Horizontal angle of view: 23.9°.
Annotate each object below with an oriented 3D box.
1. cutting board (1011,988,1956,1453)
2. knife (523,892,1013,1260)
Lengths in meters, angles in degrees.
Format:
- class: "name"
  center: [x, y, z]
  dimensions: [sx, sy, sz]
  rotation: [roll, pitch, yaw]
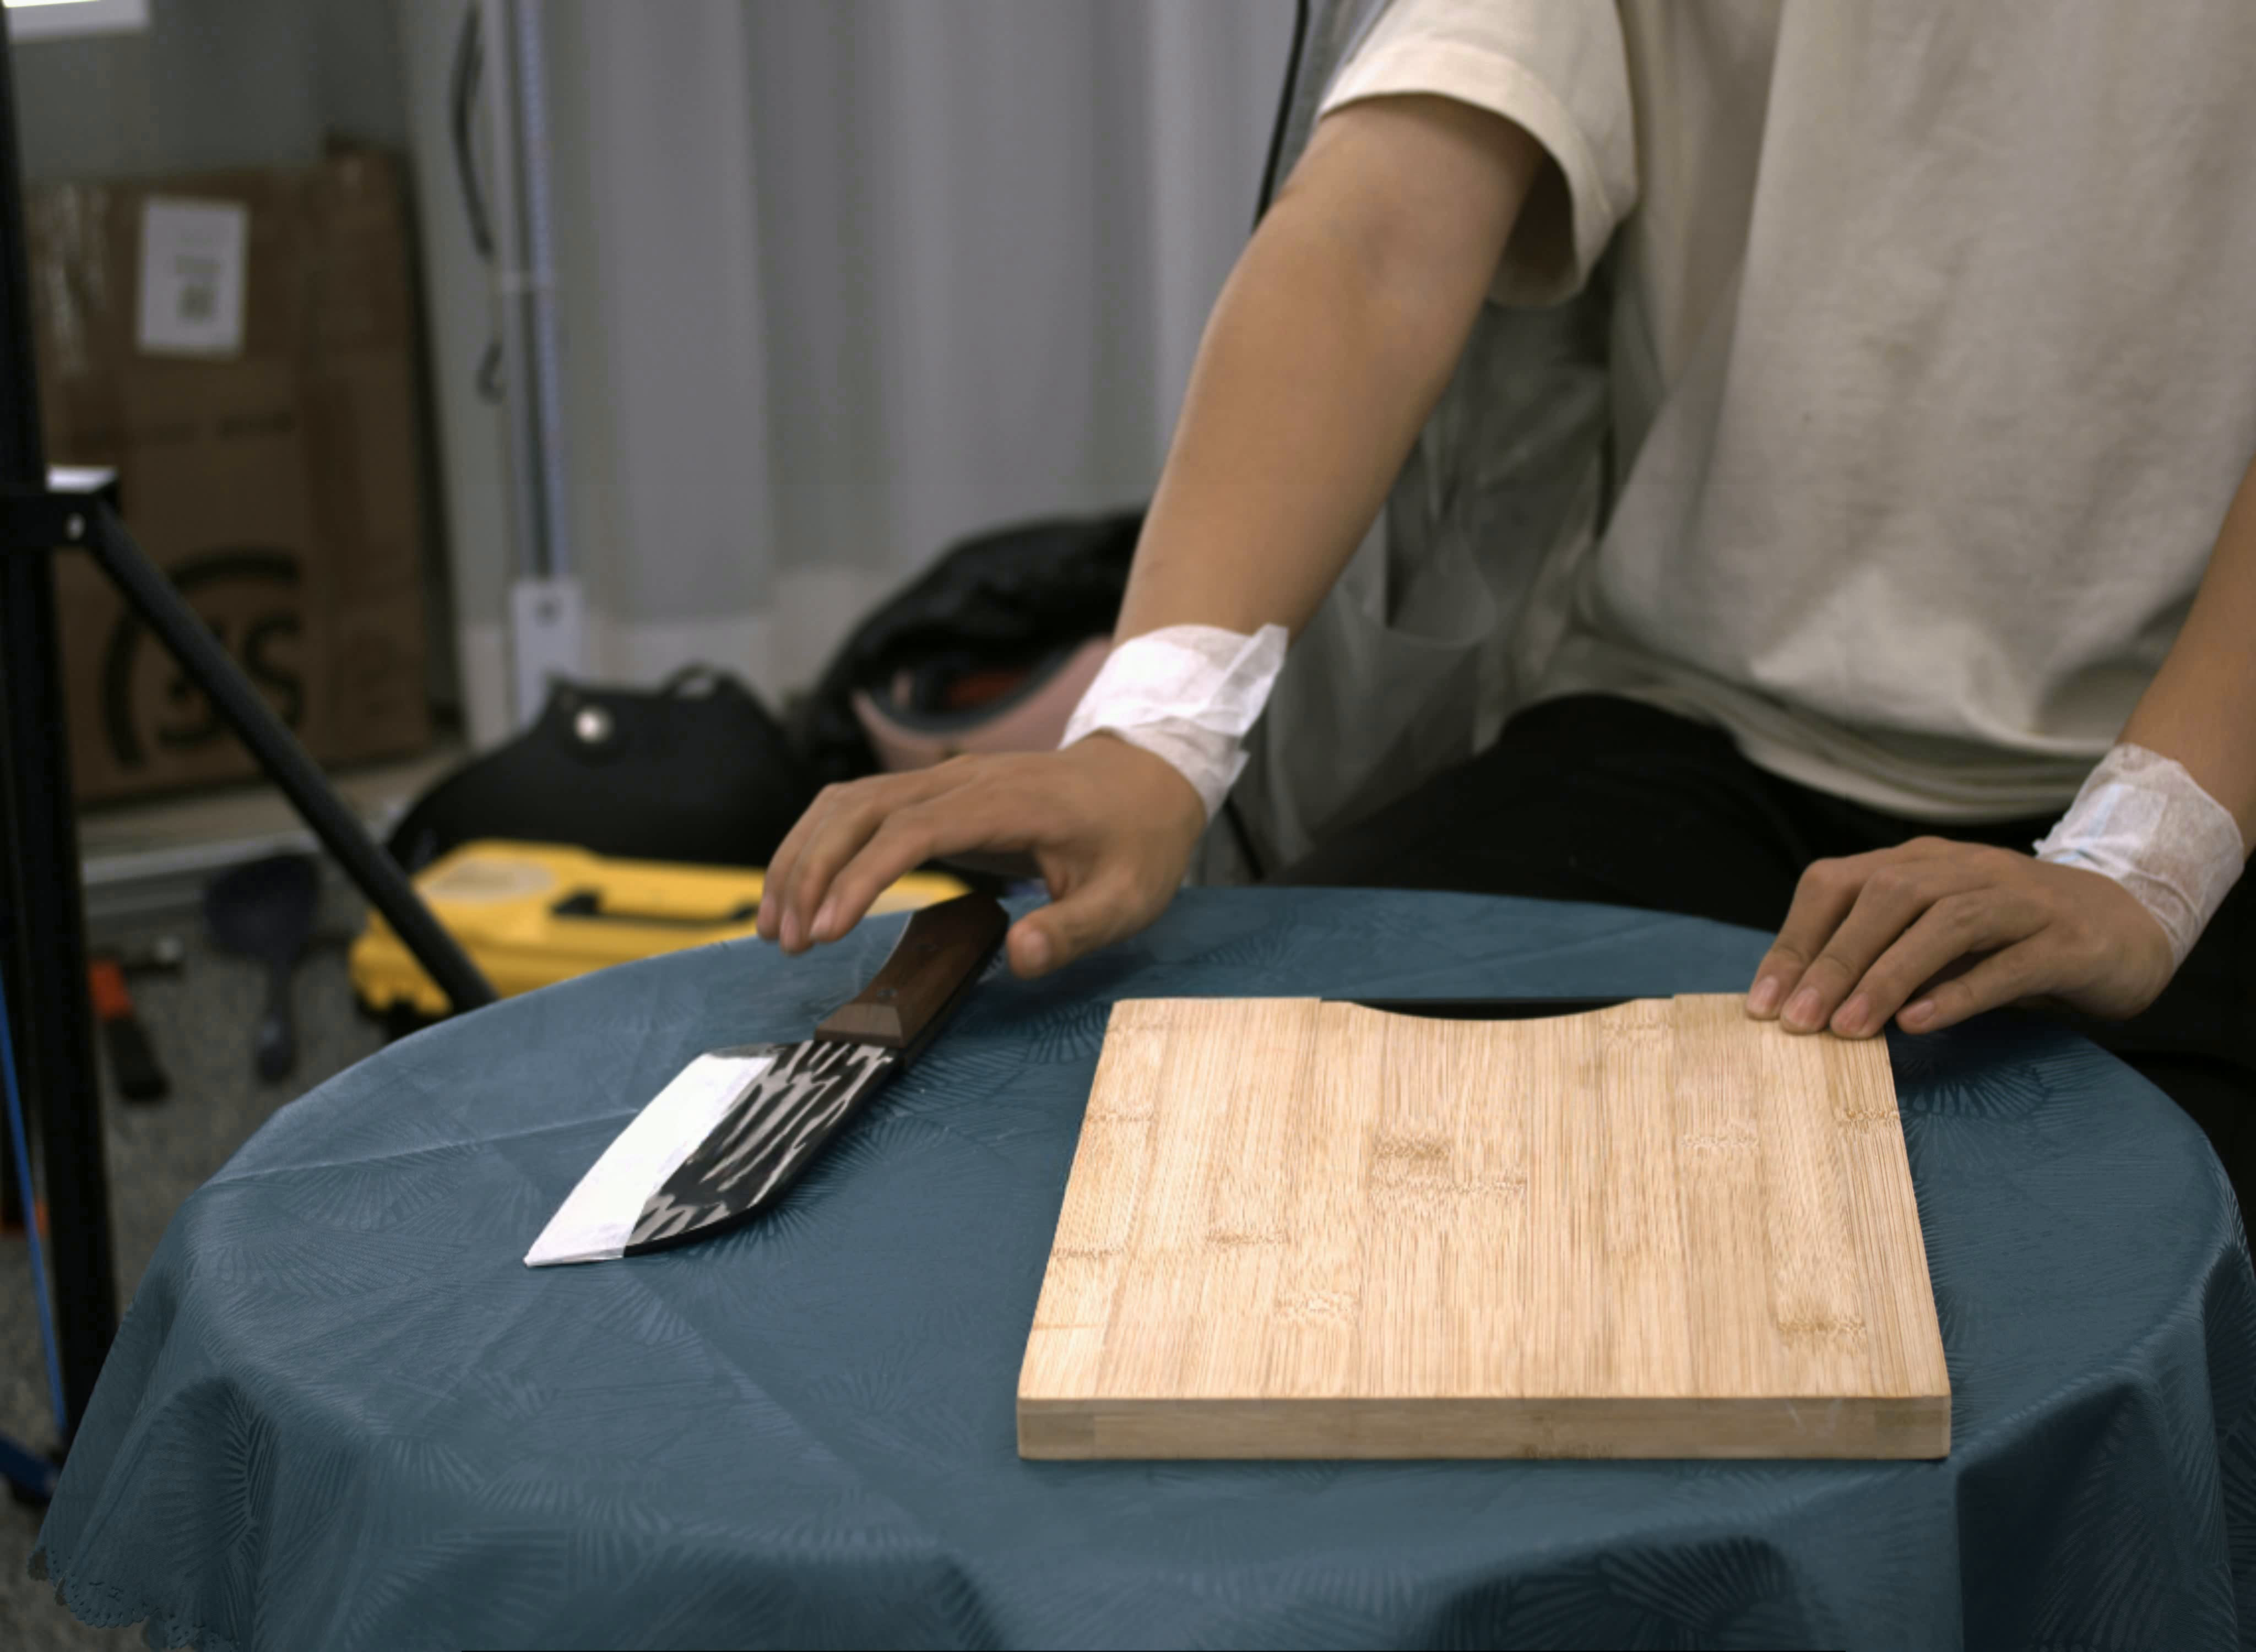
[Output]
- class: "cutting board"
  center: [0.104, 0.107, 1.511]
  dimensions: [0.250, 0.023, 0.349]
  rotation: [-1, 15, 4]
- class: "knife"
  center: [-0.107, 0.077, 1.646]
  dimensions: [0.069, 0.024, 0.297]
  rotation: [-1, 18, 19]
